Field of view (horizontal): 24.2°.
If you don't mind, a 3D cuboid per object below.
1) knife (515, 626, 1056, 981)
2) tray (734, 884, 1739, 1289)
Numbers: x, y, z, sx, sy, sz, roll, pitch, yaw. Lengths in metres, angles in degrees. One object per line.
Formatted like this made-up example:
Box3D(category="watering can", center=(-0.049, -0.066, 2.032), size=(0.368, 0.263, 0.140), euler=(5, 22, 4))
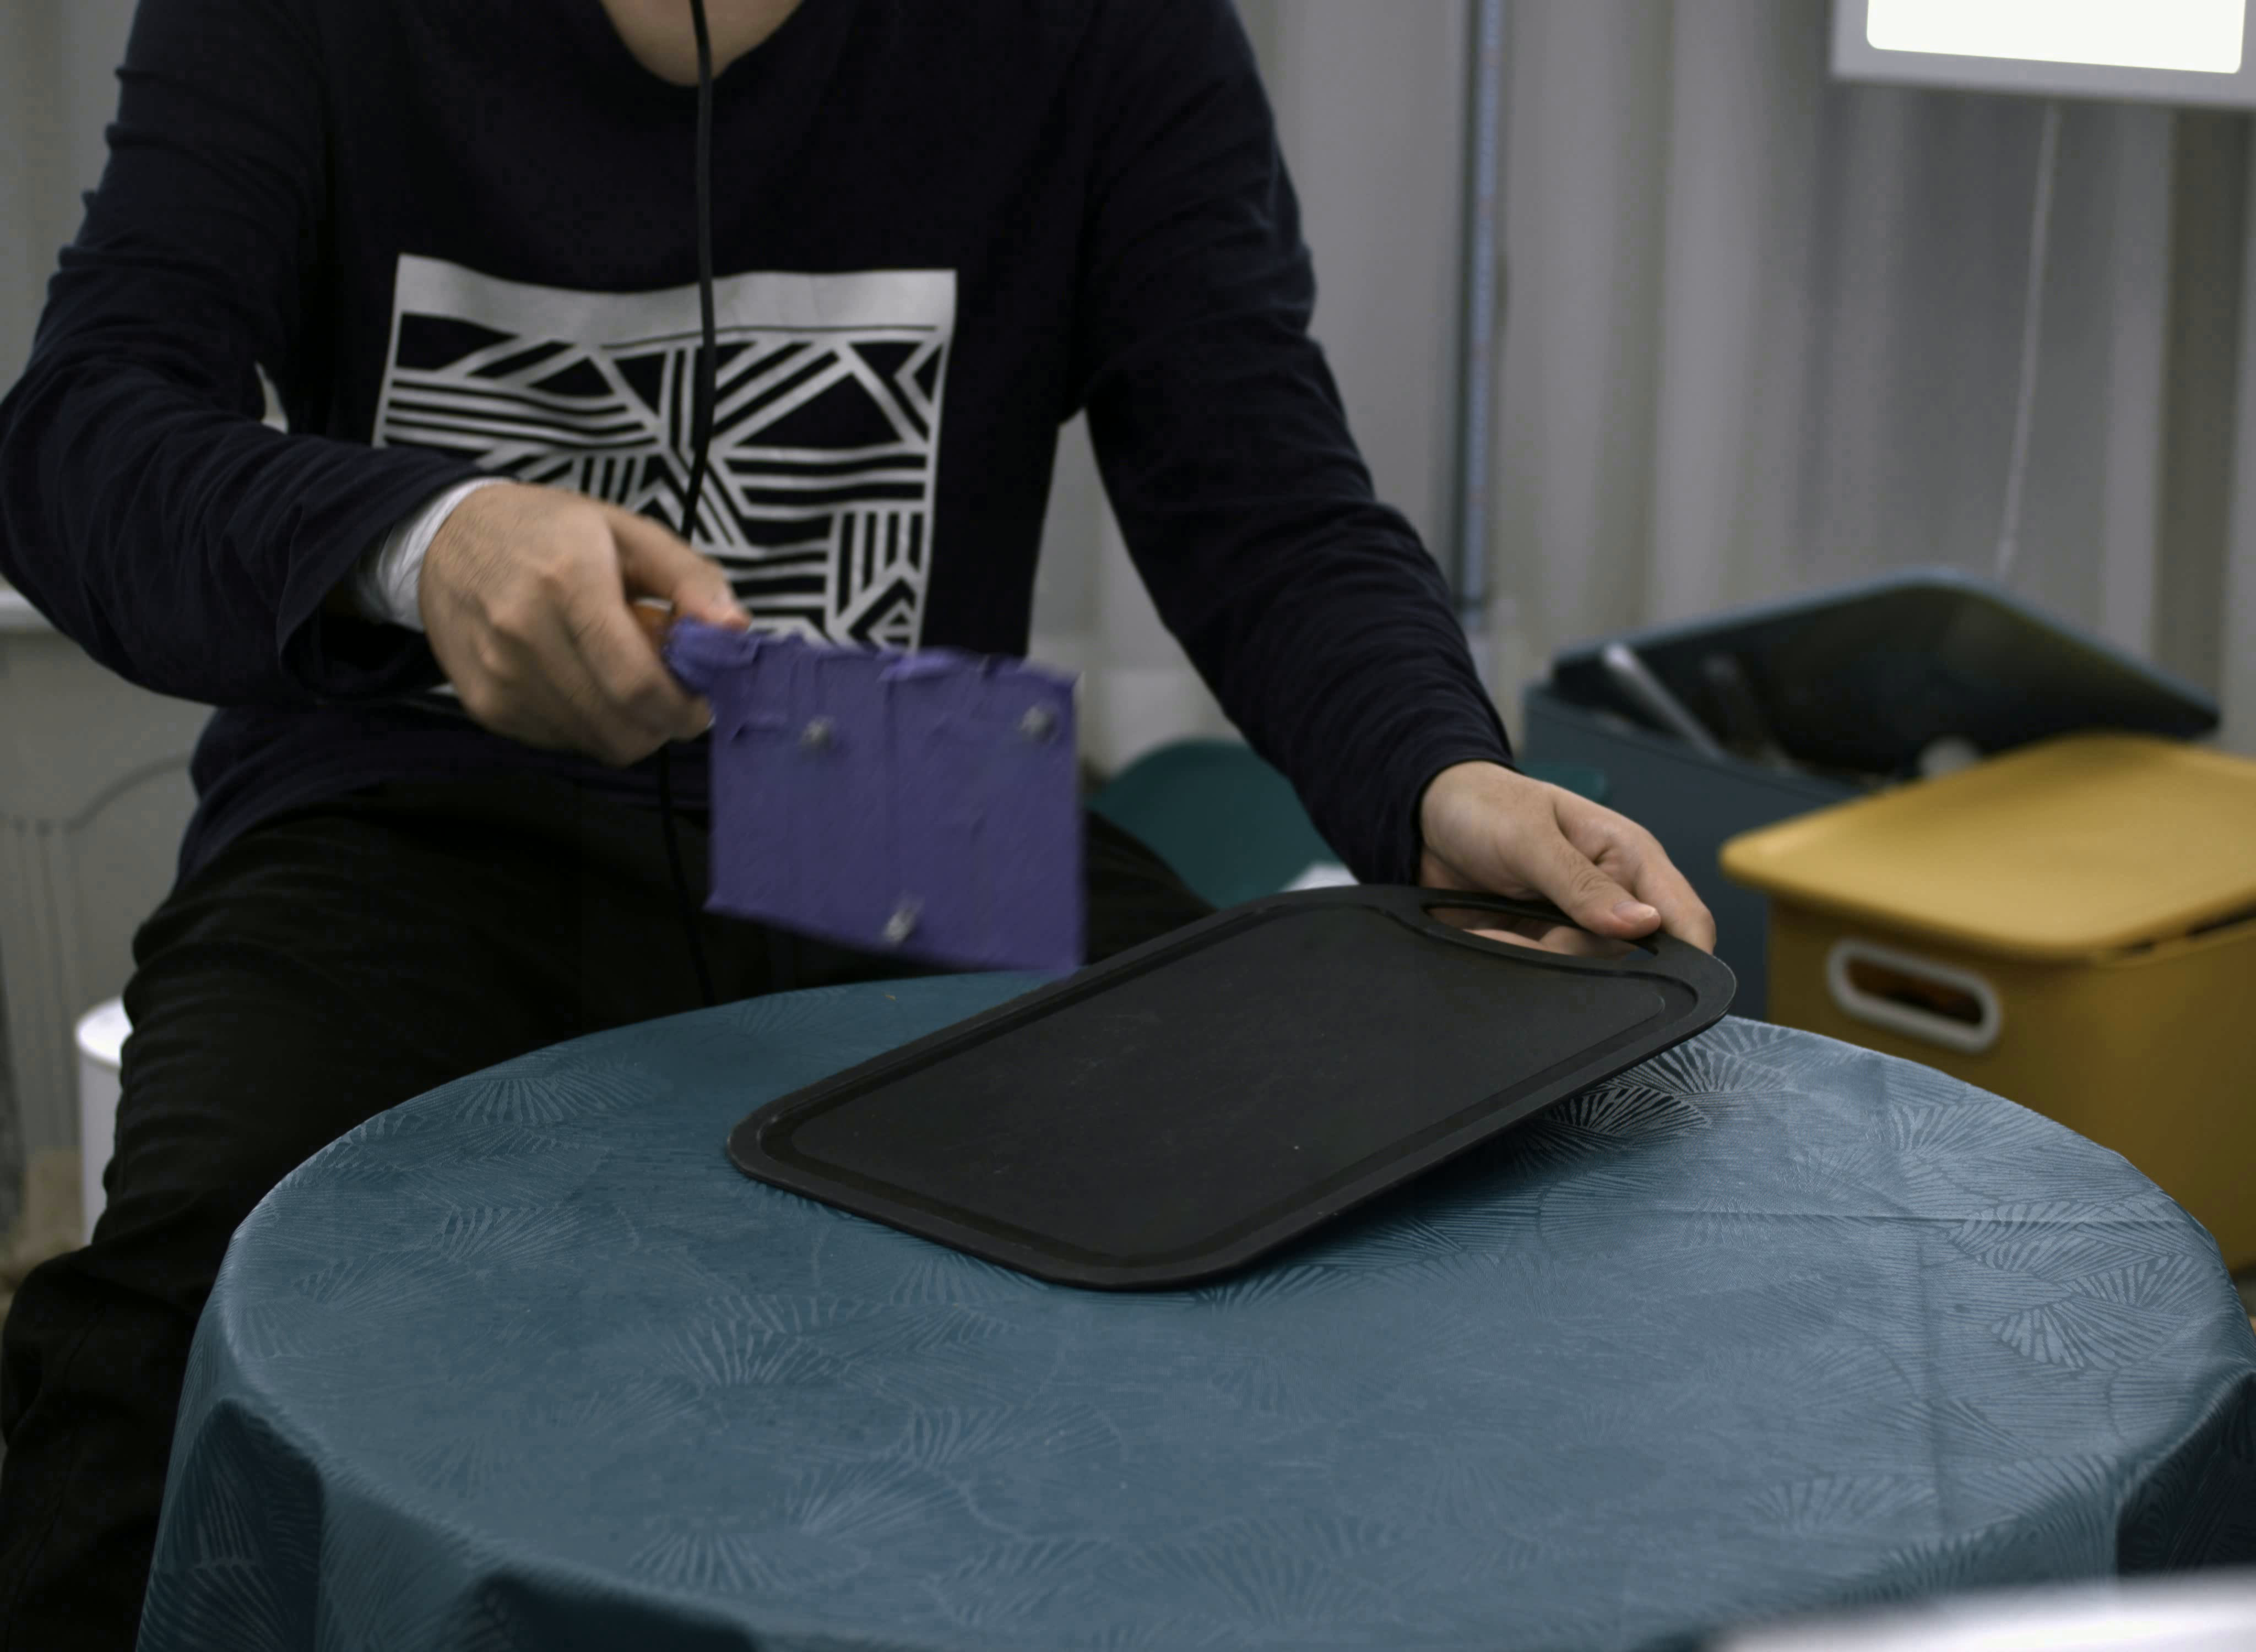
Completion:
Box3D(category="knife", center=(-0.110, -0.009, 1.610), size=(0.032, 0.104, 0.312), euler=(1, 4, -32))
Box3D(category="tray", center=(0.043, 0.074, 1.694), size=(0.208, 0.010, 0.326), euler=(15, 27, 42))
